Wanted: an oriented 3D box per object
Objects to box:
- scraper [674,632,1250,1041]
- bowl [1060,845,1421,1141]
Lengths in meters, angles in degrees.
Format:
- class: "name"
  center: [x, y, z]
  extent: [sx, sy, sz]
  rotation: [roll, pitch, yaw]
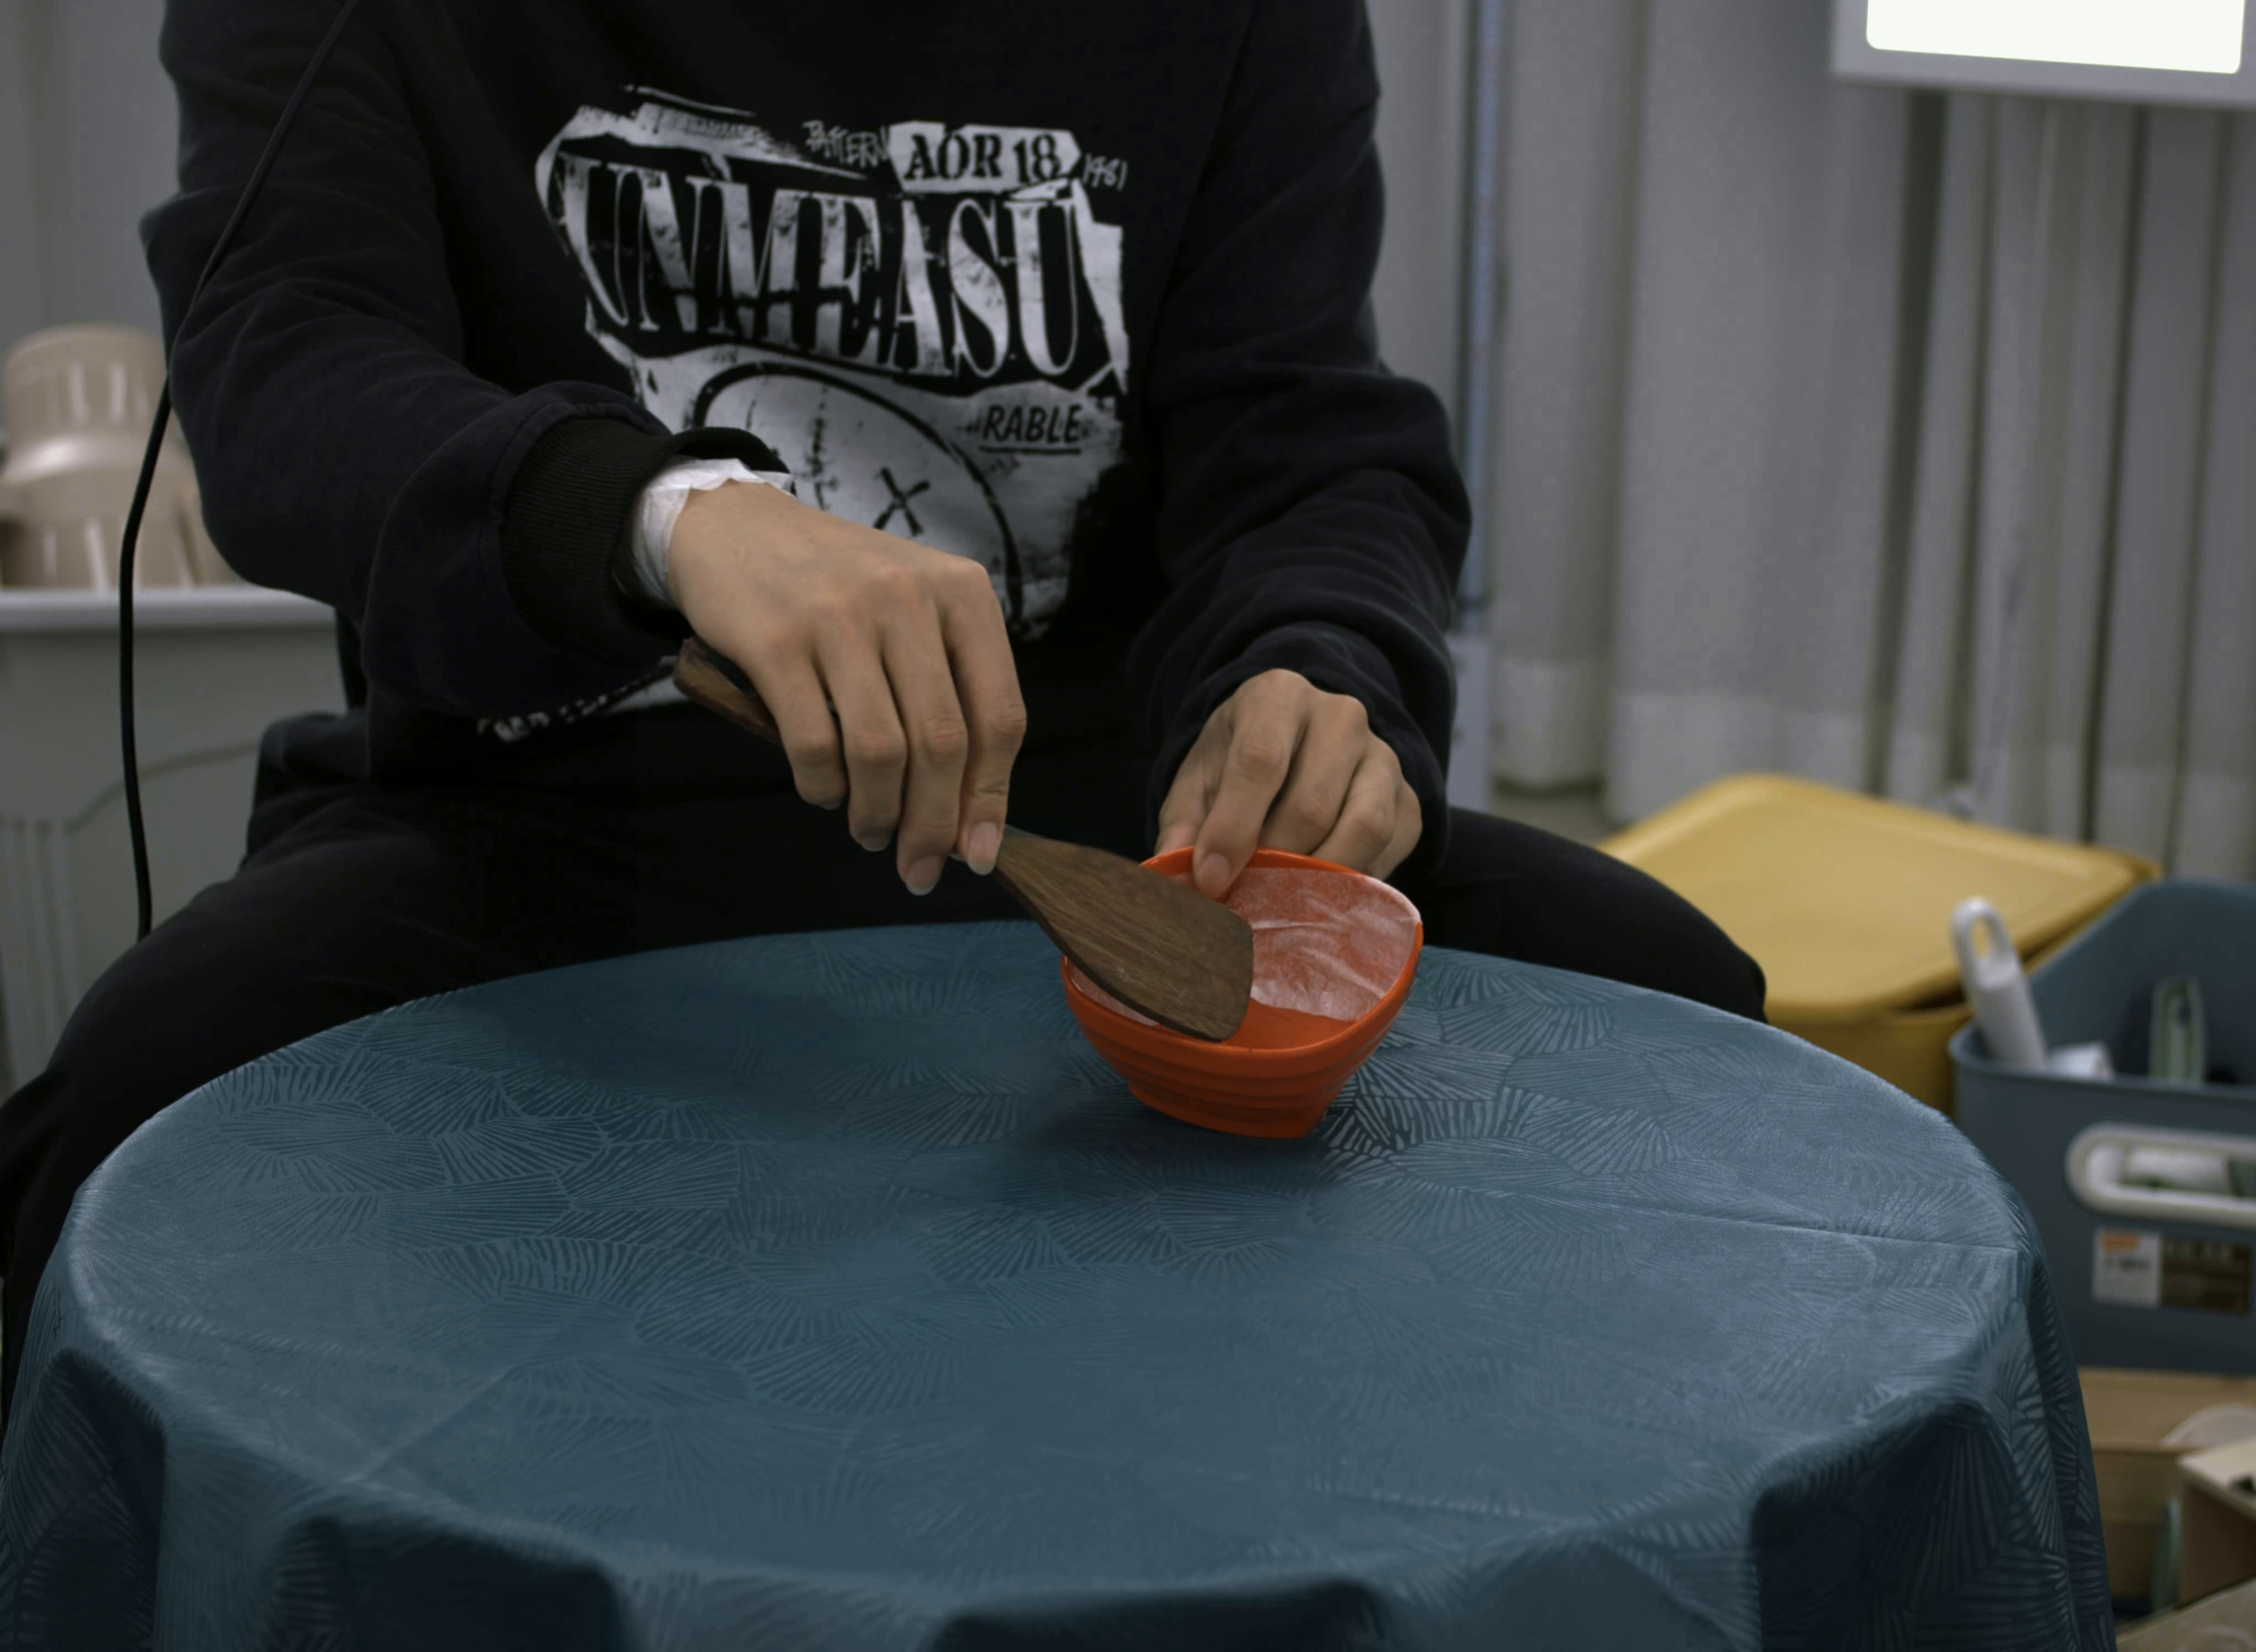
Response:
- class: "scraper"
  center: [-0.051, 0.000, 1.643]
  extent: [0.212, 0.011, 0.075]
  rotation: [32, 28, -13]
- class: "bowl"
  center: [0.037, 0.059, 1.693]
  extent: [0.118, 0.052, 0.118]
  rotation: [-1, 36, 1]
